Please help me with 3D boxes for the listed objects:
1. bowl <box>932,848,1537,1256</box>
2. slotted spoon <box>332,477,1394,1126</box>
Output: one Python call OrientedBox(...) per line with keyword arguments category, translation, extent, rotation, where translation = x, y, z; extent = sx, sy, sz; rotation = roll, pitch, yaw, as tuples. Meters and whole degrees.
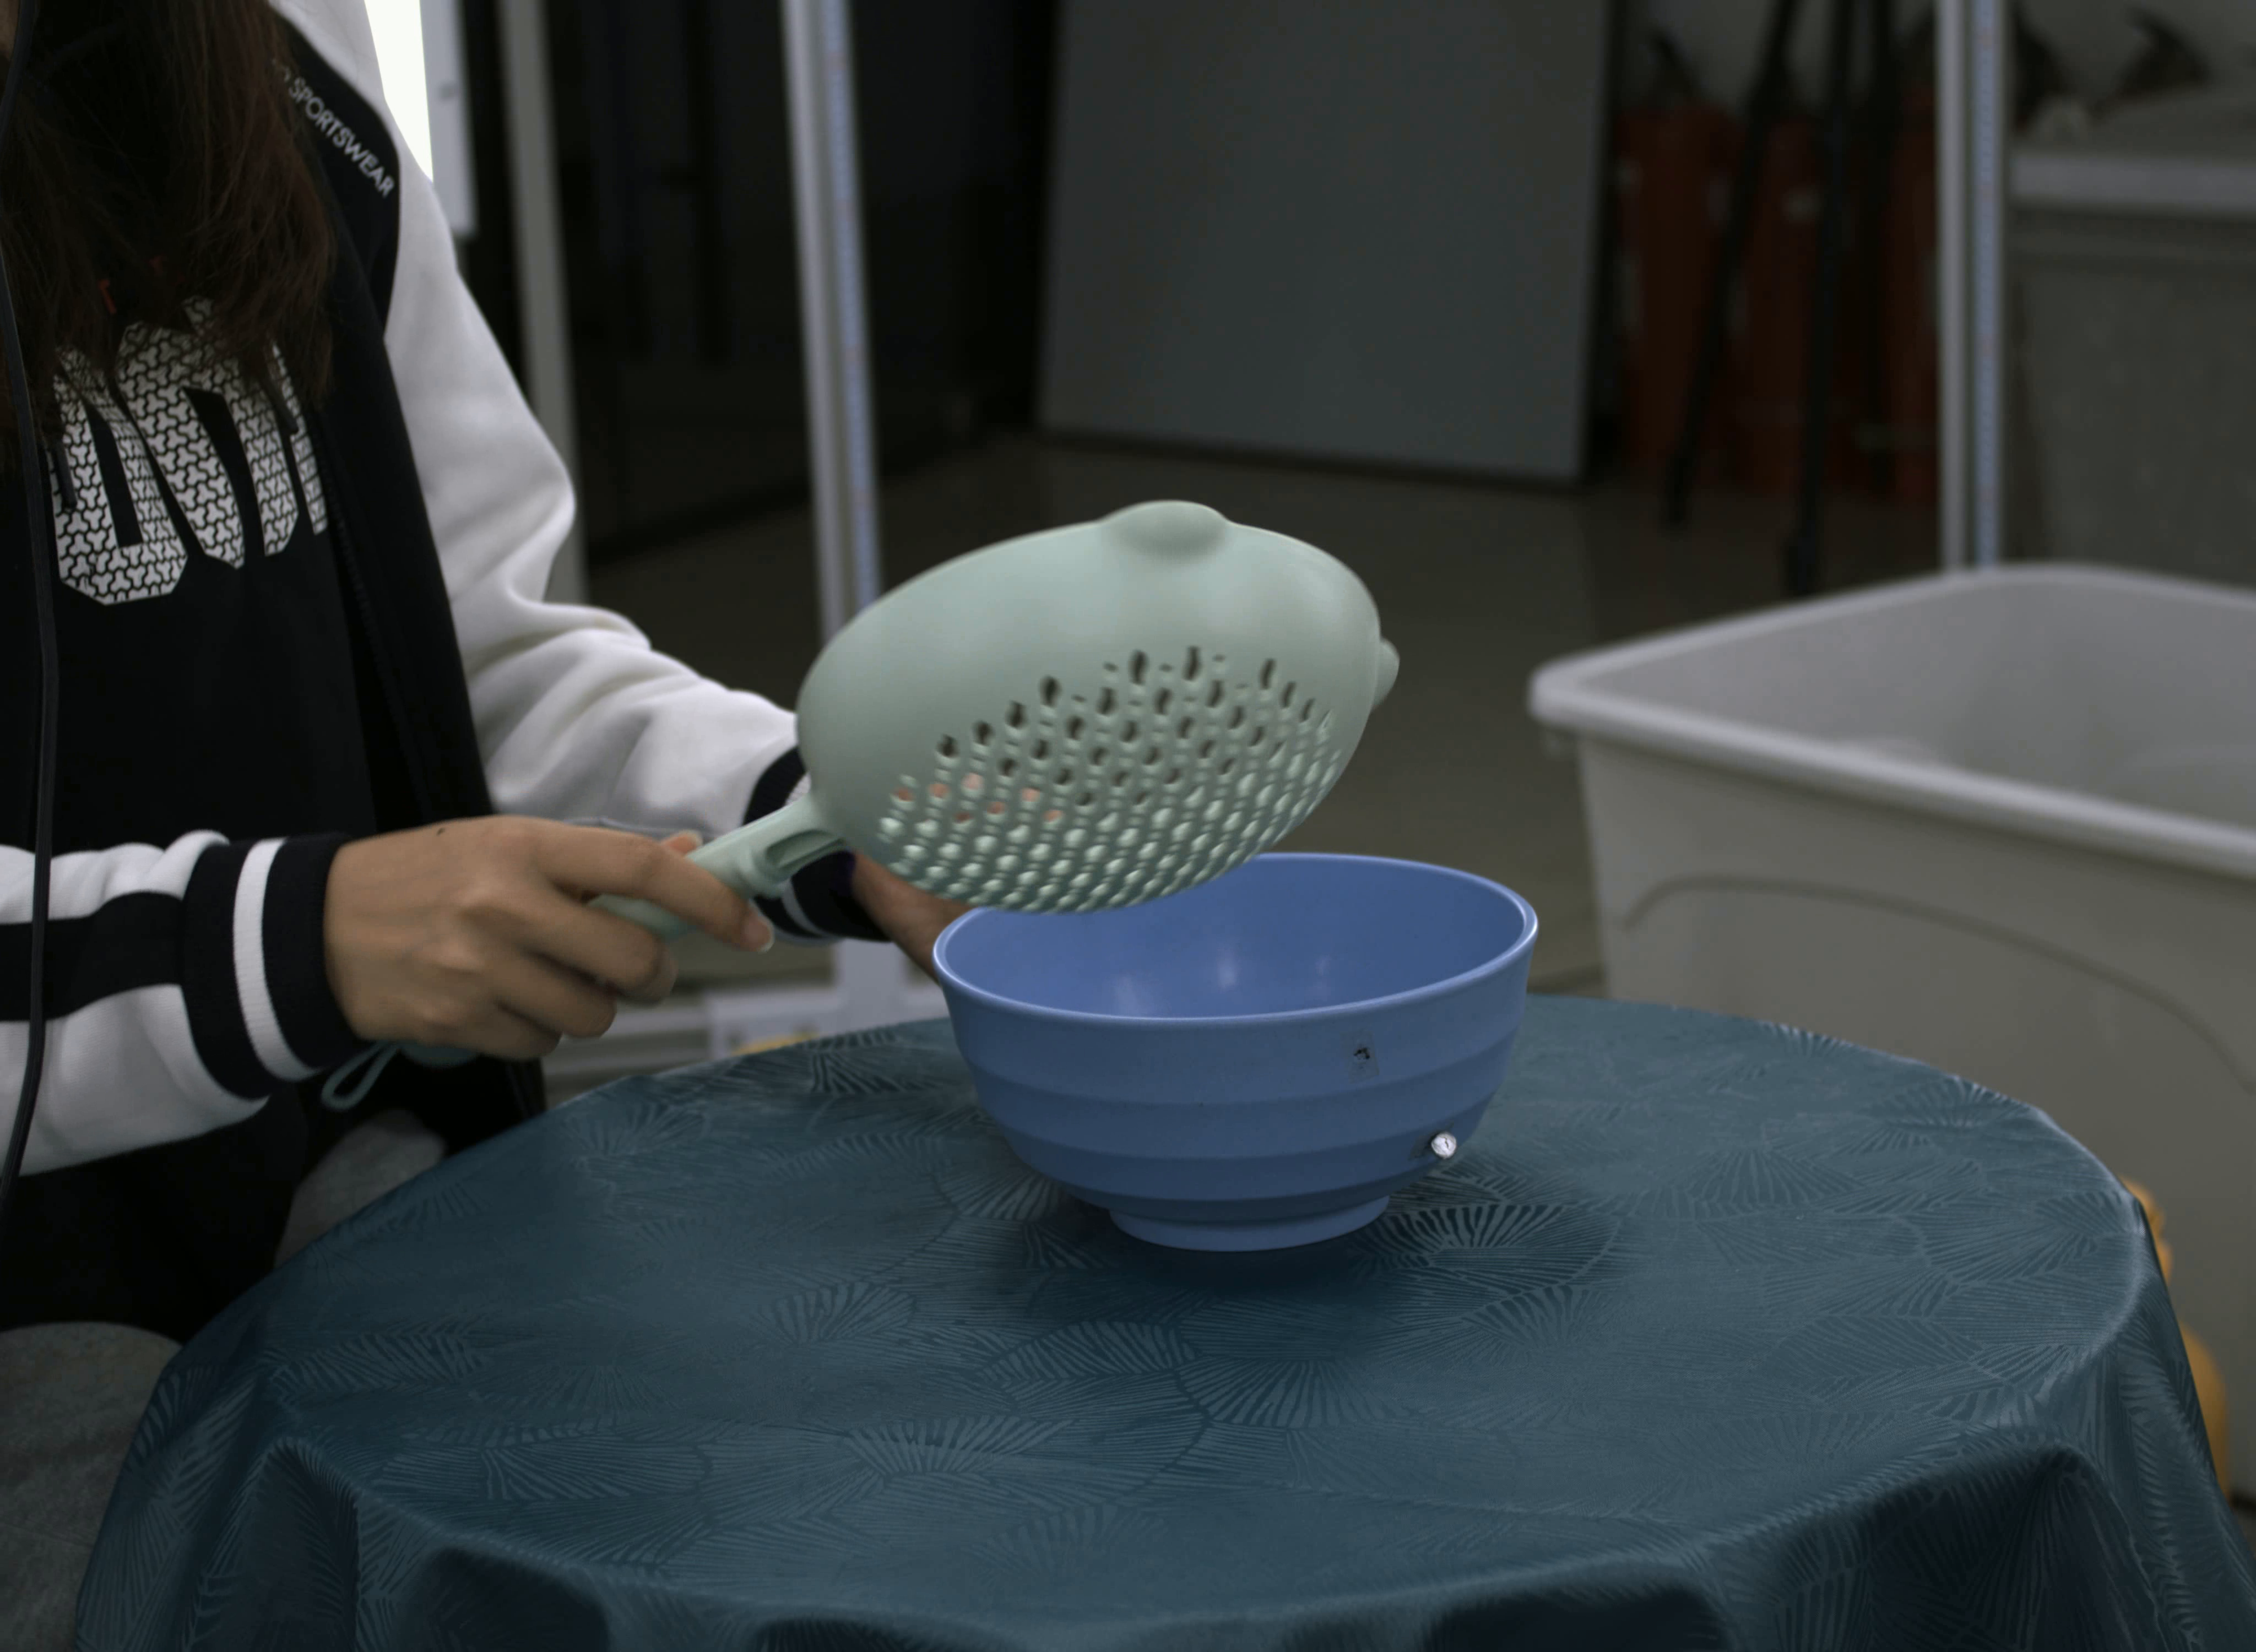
OrientedBox(category="bowl", translation=(0.037, 0.078, 1.734), extent=(0.194, 0.096, 0.197), rotation=(-5, 14, 0))
OrientedBox(category="slotted spoon", translation=(-0.089, 0.004, 1.565), extent=(0.360, 0.076, 0.166), rotation=(-19, -28, 26))
